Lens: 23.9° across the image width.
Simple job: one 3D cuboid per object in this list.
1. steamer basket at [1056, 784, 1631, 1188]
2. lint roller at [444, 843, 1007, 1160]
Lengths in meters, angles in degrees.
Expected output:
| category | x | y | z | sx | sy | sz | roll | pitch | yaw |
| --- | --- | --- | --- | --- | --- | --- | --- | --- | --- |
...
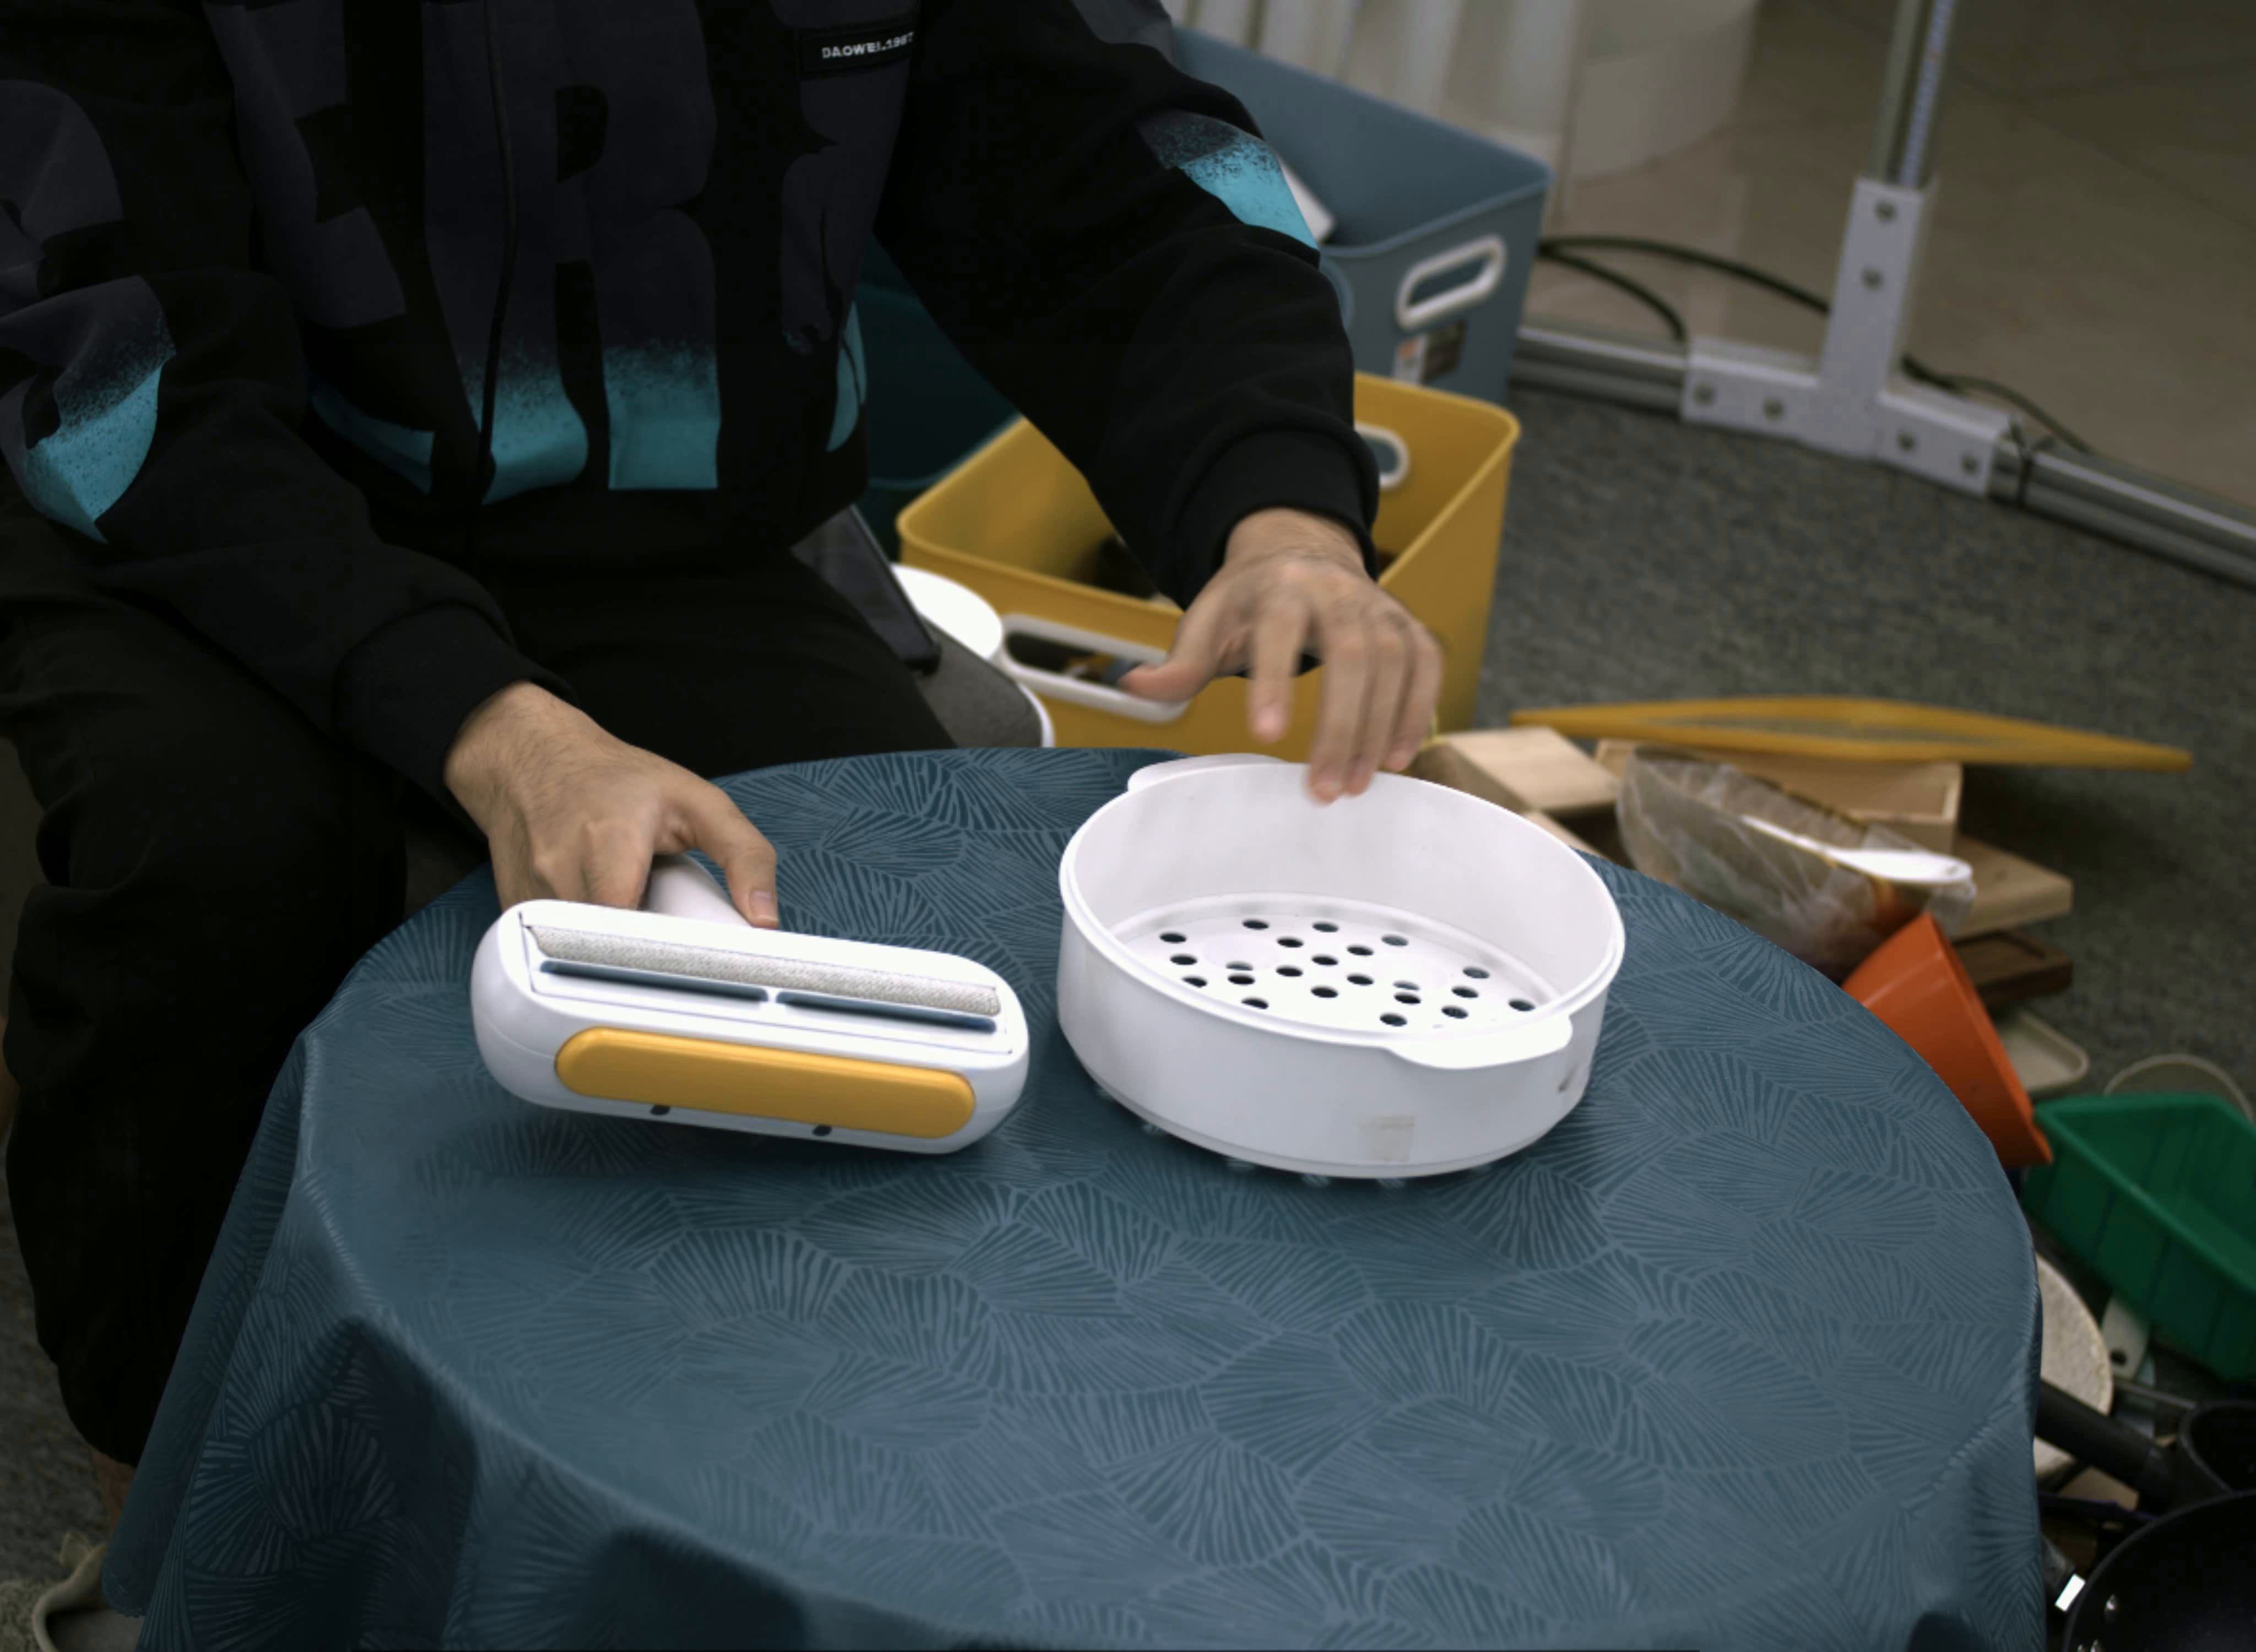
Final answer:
| category | x | y | z | sx | sy | sz | roll | pitch | yaw |
| --- | --- | --- | --- | --- | --- | --- | --- | --- | --- |
| steamer basket | 0.074 | 0.057 | 1.878 | 0.200 | 0.069 | 0.232 | -6 | 27 | -27 |
| lint roller | -0.146 | 0.045 | 1.839 | 0.191 | 0.074 | 0.194 | 6 | 28 | -15 |
